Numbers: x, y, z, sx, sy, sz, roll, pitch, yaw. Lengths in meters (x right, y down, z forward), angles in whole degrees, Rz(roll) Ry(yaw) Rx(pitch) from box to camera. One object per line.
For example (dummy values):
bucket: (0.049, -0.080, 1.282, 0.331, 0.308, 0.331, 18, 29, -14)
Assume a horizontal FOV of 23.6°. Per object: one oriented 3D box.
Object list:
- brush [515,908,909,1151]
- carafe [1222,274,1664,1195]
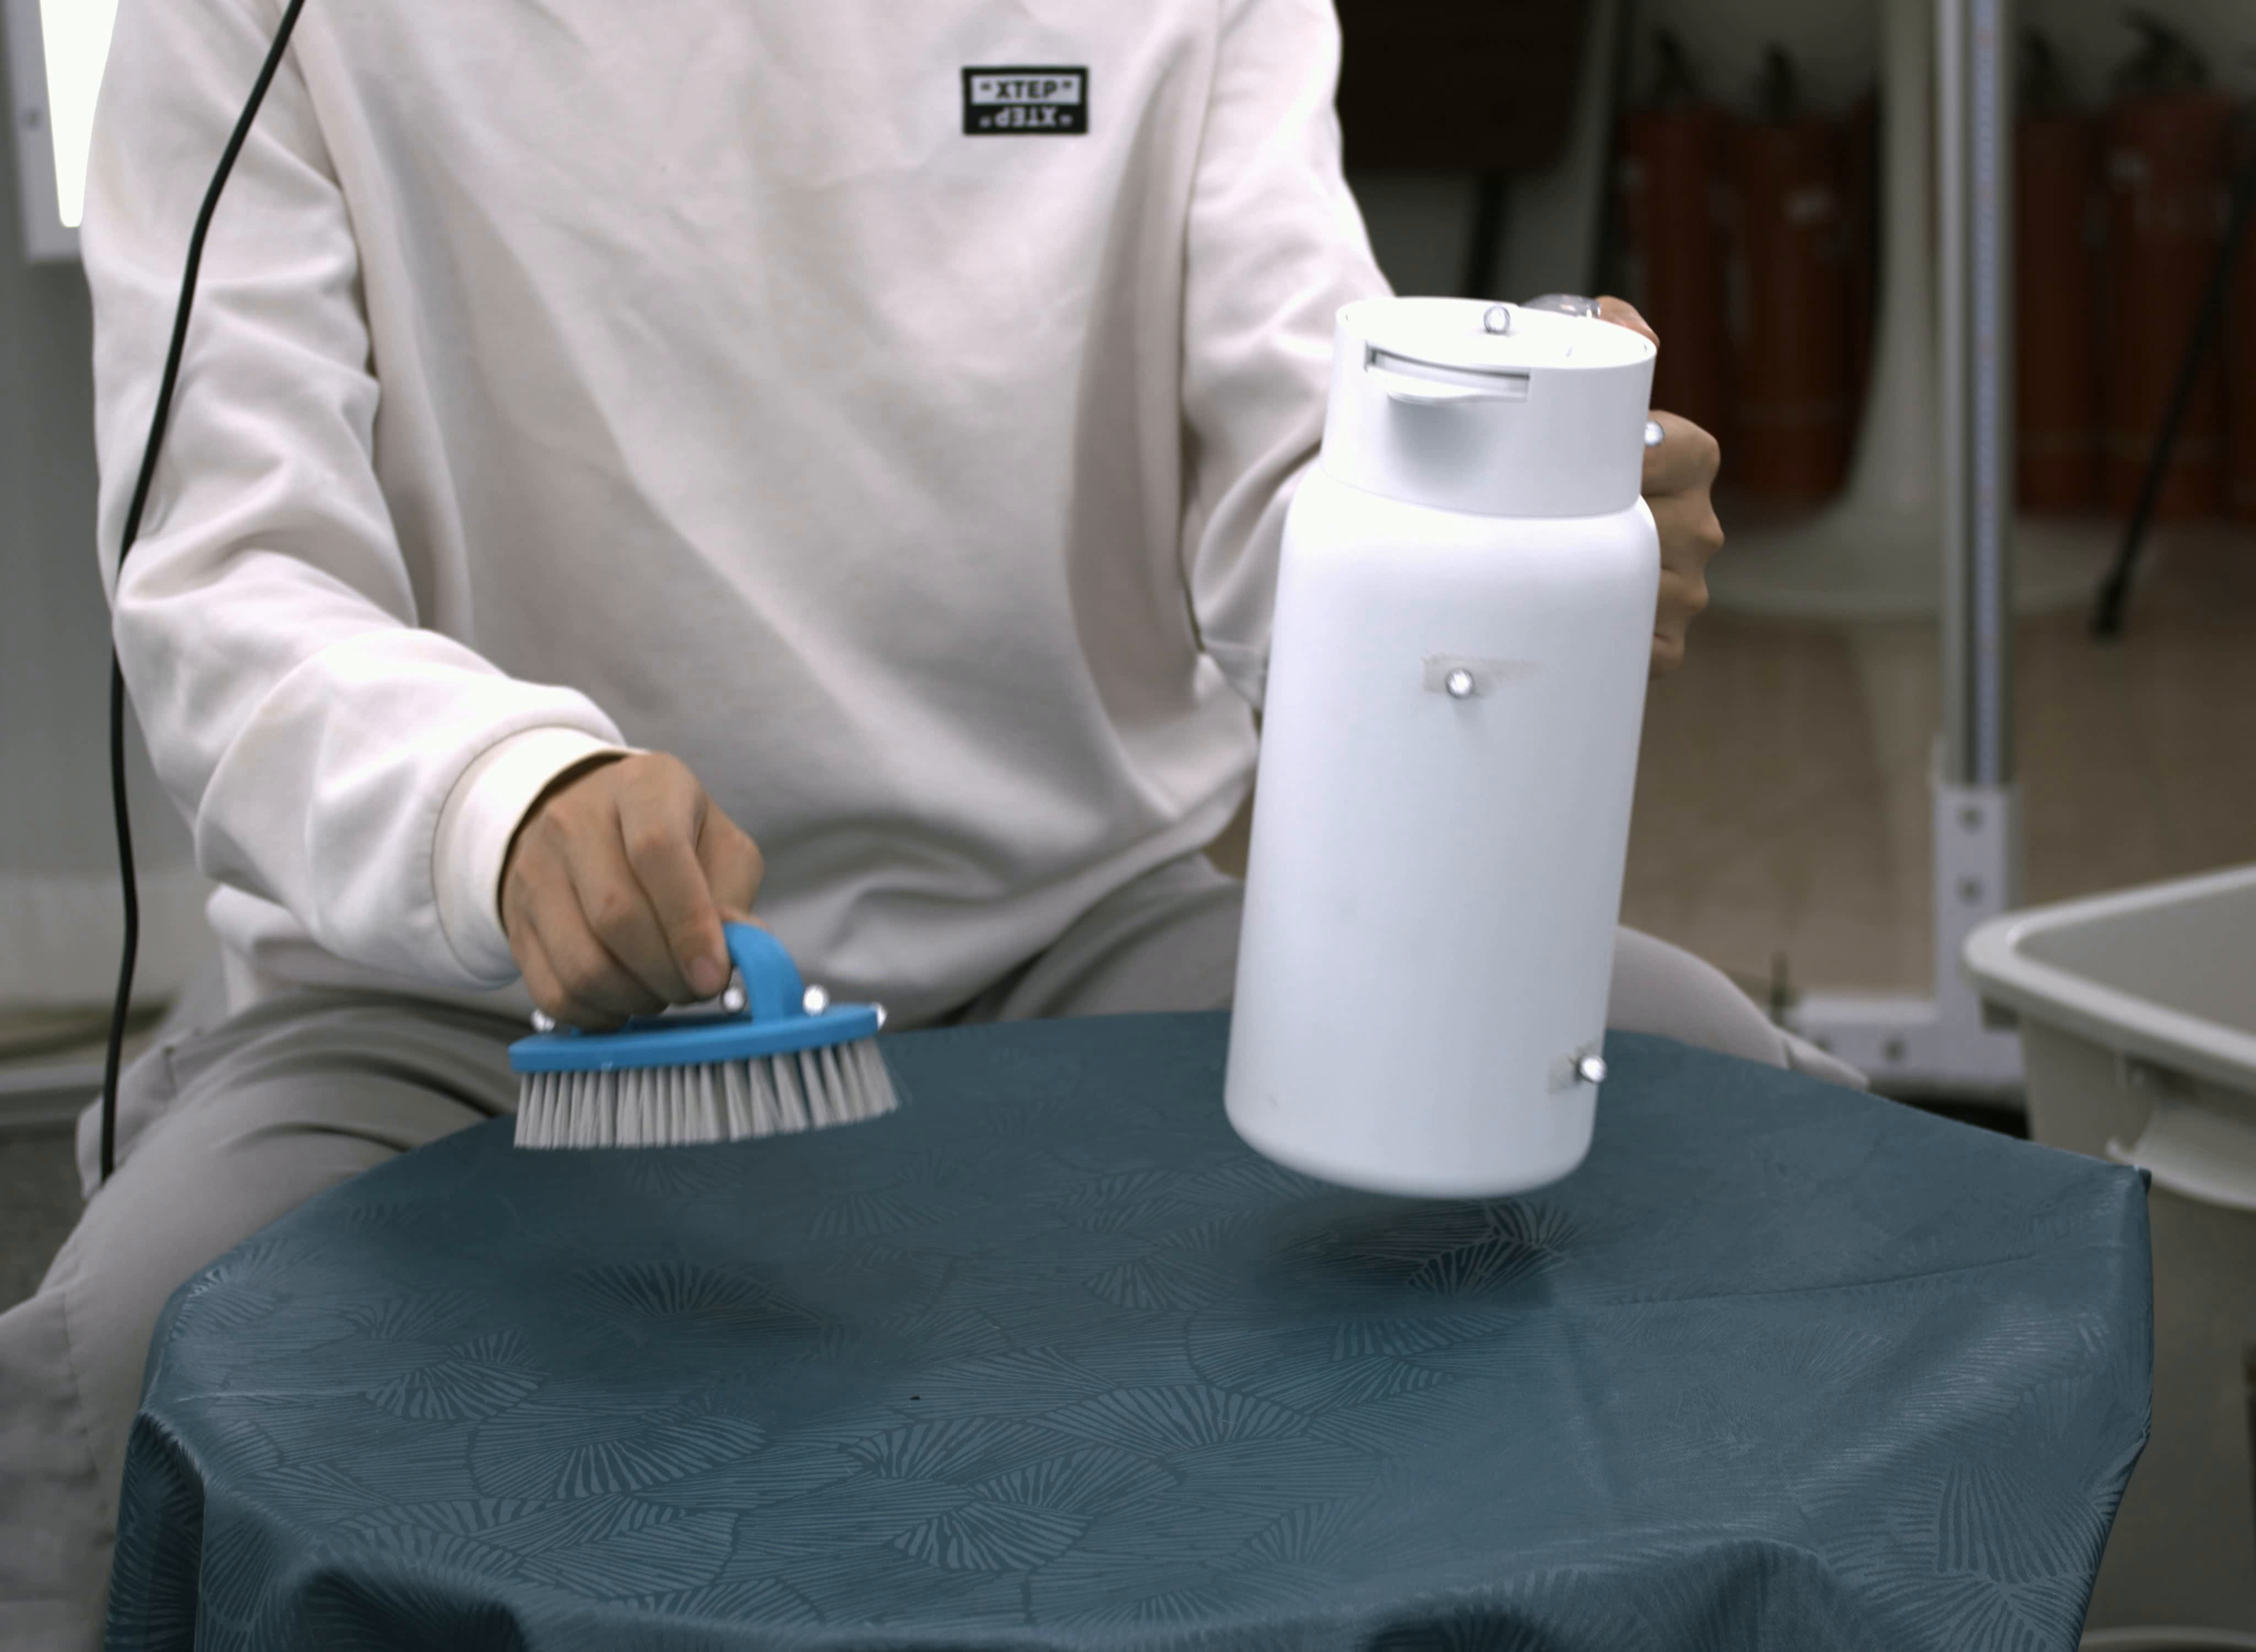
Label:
brush: (-0.133, 0.059, 1.666, 0.082, 0.064, 0.143, -15, 5, -43)
carafe: (0.104, -0.033, 1.677, 0.124, 0.272, 0.170, 9, 15, 23)
